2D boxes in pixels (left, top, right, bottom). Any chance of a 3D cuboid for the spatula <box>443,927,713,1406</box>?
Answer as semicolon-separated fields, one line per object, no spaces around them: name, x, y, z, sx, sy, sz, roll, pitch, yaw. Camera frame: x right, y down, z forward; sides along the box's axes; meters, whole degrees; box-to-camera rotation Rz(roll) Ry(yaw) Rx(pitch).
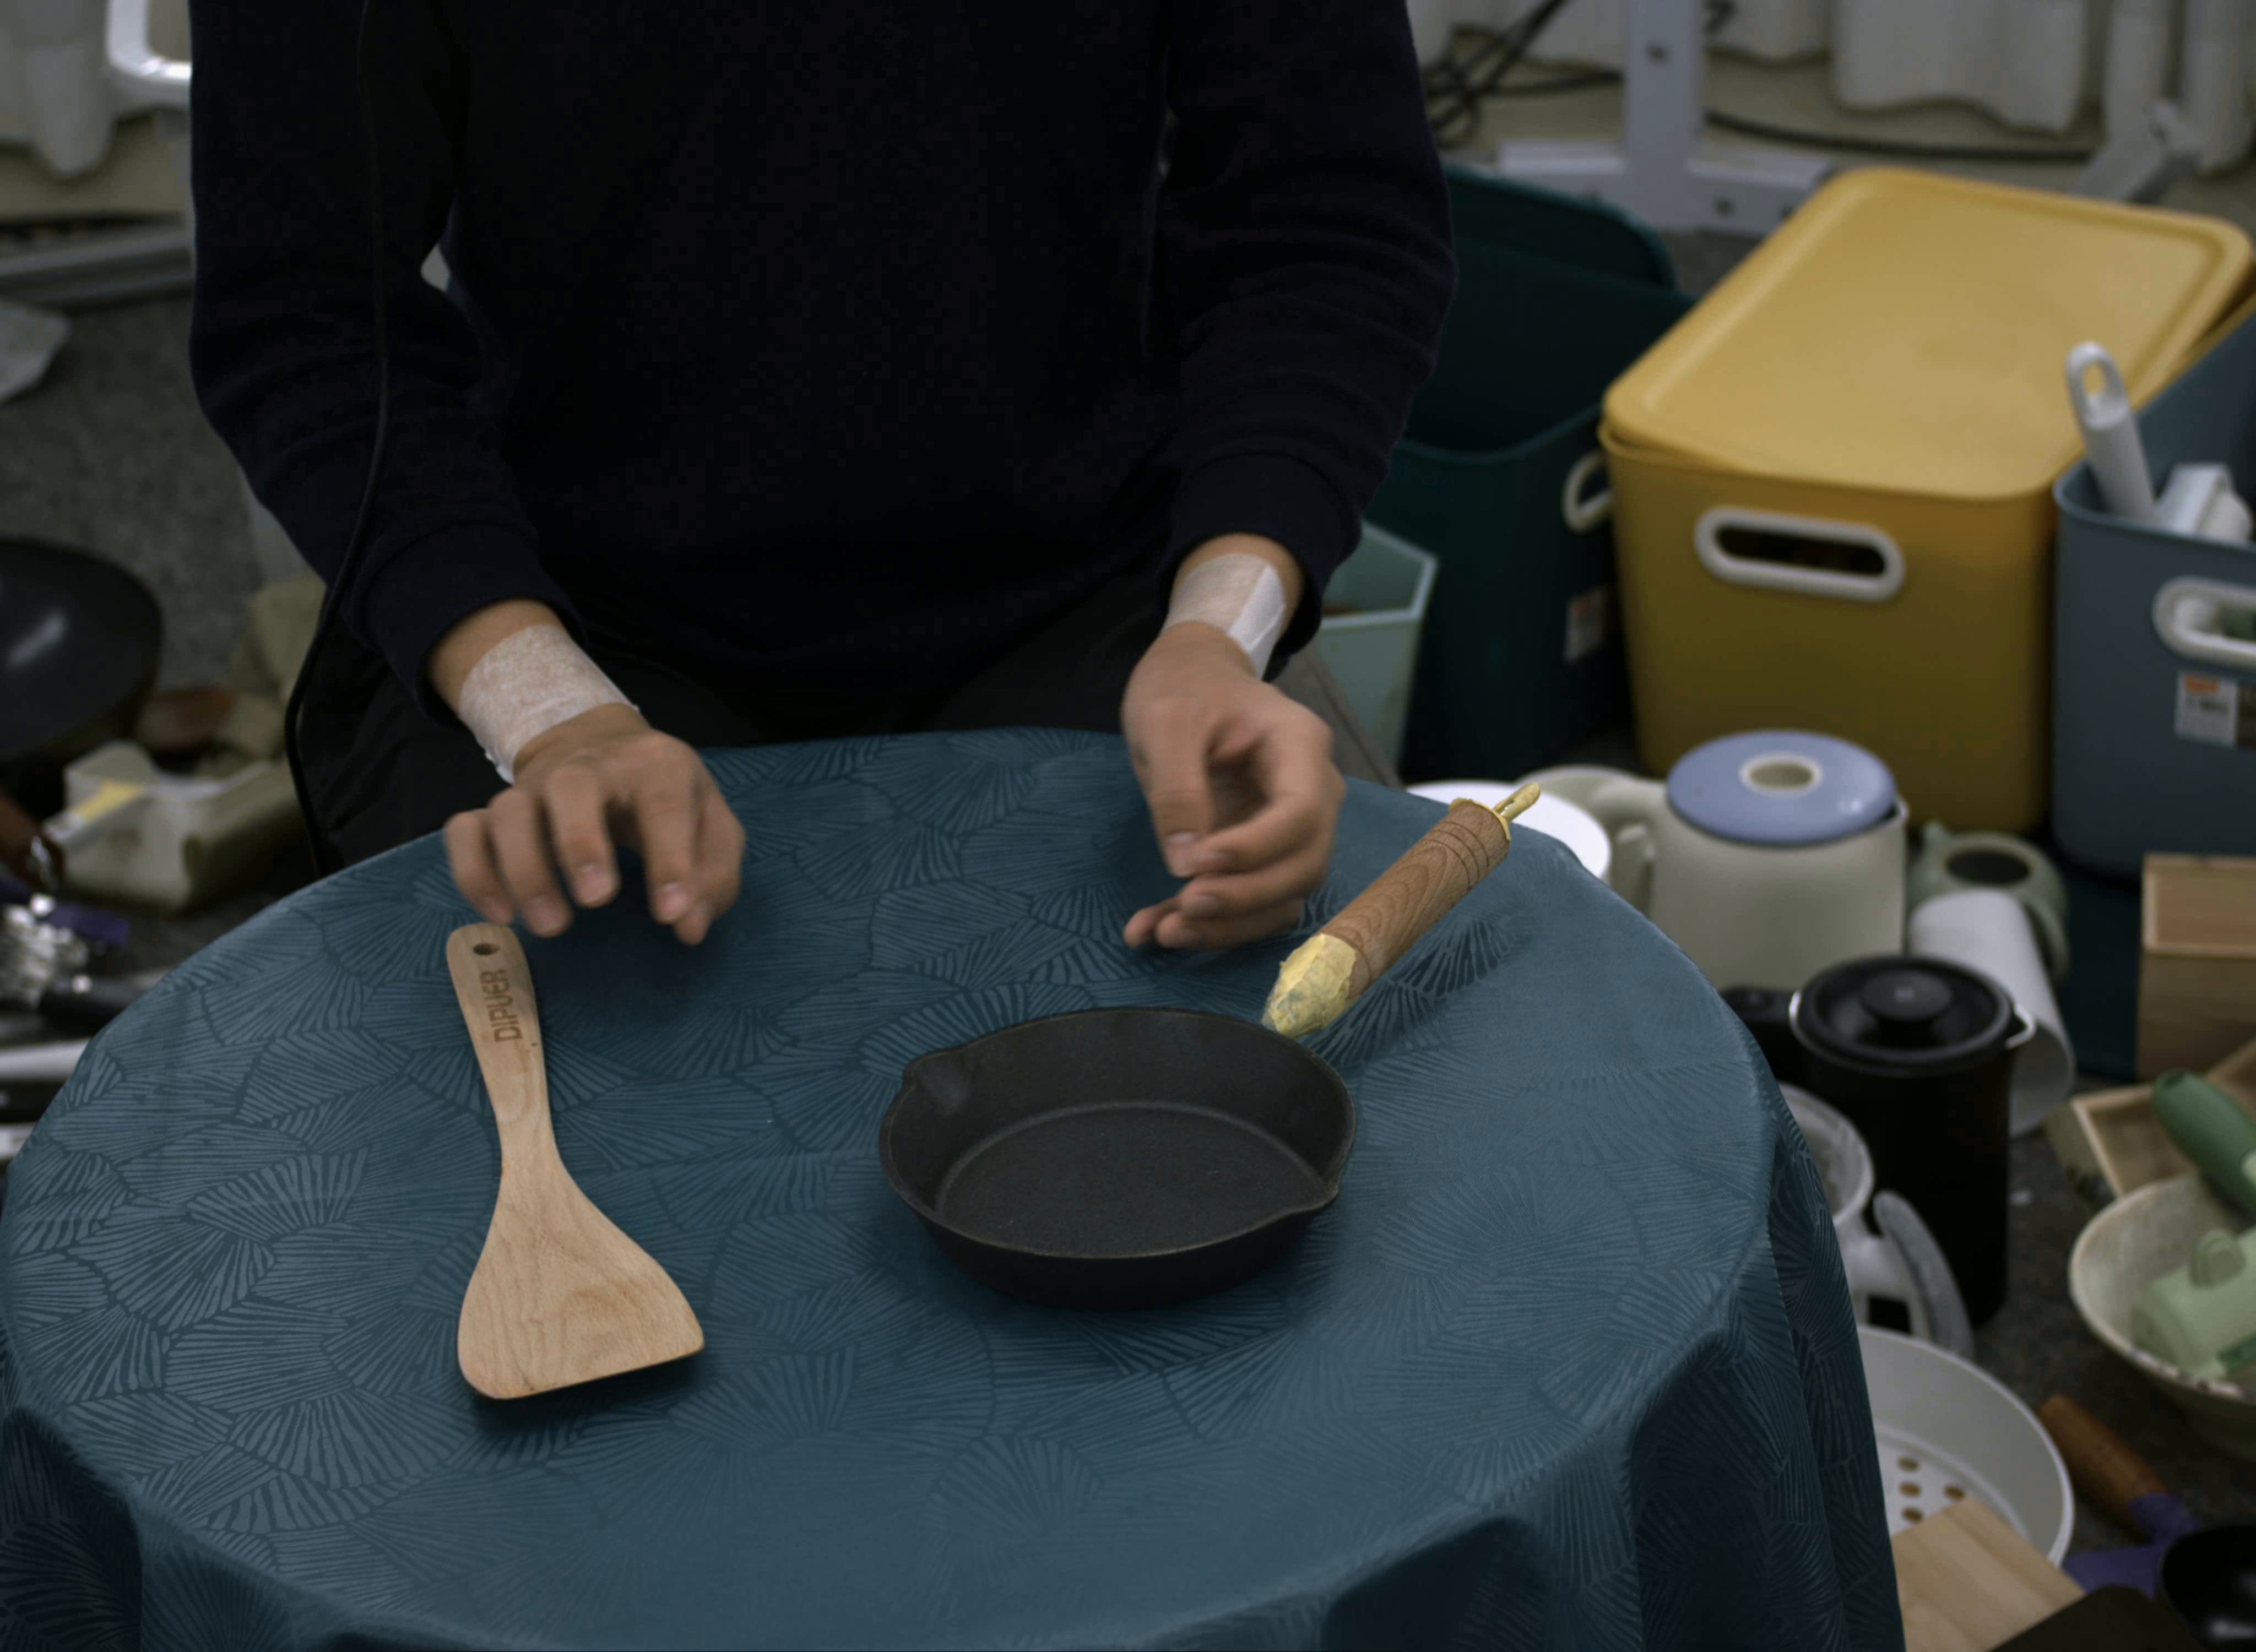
spatula;-0.200;0.108;1.890;0.080;0.016;0.331;-7;28;-10

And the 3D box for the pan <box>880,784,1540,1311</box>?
pan;0.048;0.071;1.901;0.168;0.049;0.329;17;35;34
